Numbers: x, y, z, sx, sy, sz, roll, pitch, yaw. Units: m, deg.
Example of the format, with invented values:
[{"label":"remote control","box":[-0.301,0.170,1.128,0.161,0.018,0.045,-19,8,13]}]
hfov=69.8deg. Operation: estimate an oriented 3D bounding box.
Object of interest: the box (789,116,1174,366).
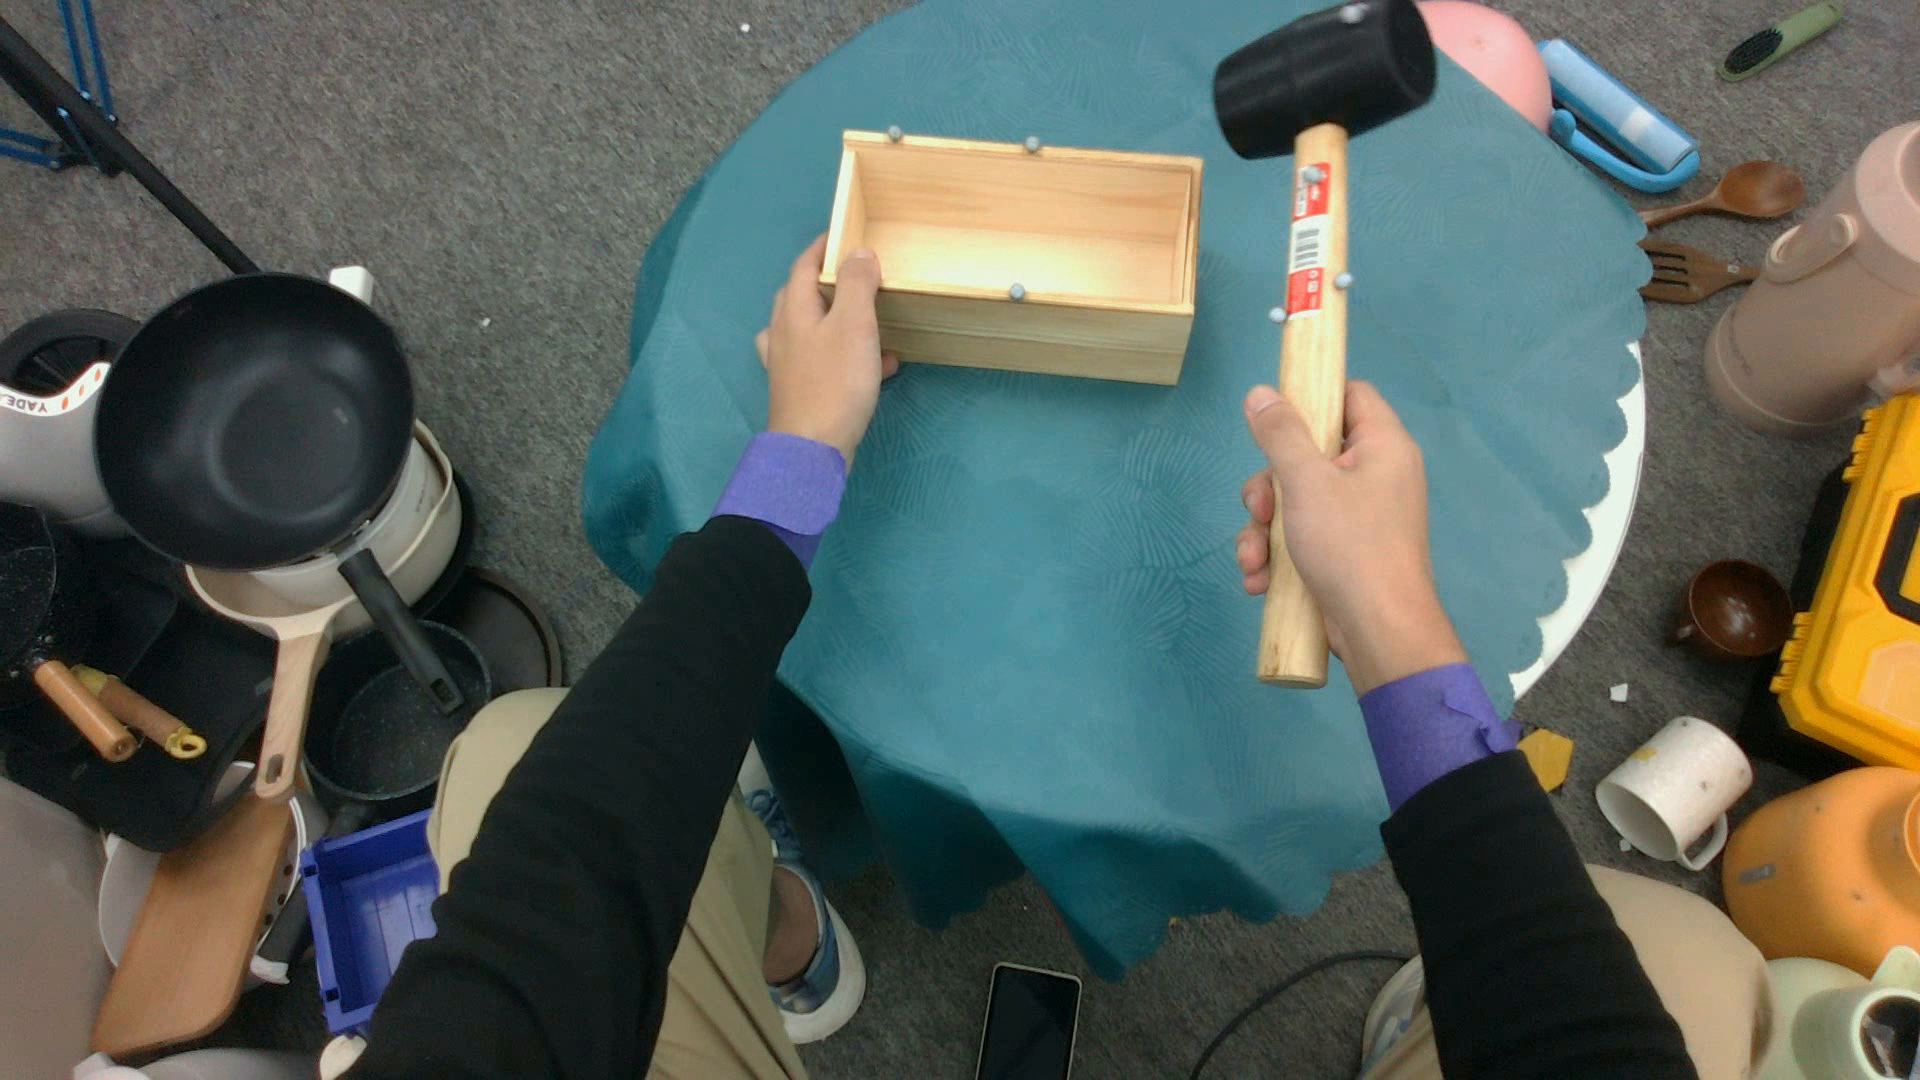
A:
[{"label":"box","box":[0.015,-0.176,0.818,0.211,0.080,0.108,5,68,3]}]

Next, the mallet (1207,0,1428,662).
[{"label":"mallet","box":[0.157,-0.111,0.669,0.101,0.064,0.340,-2,69,39]}]
